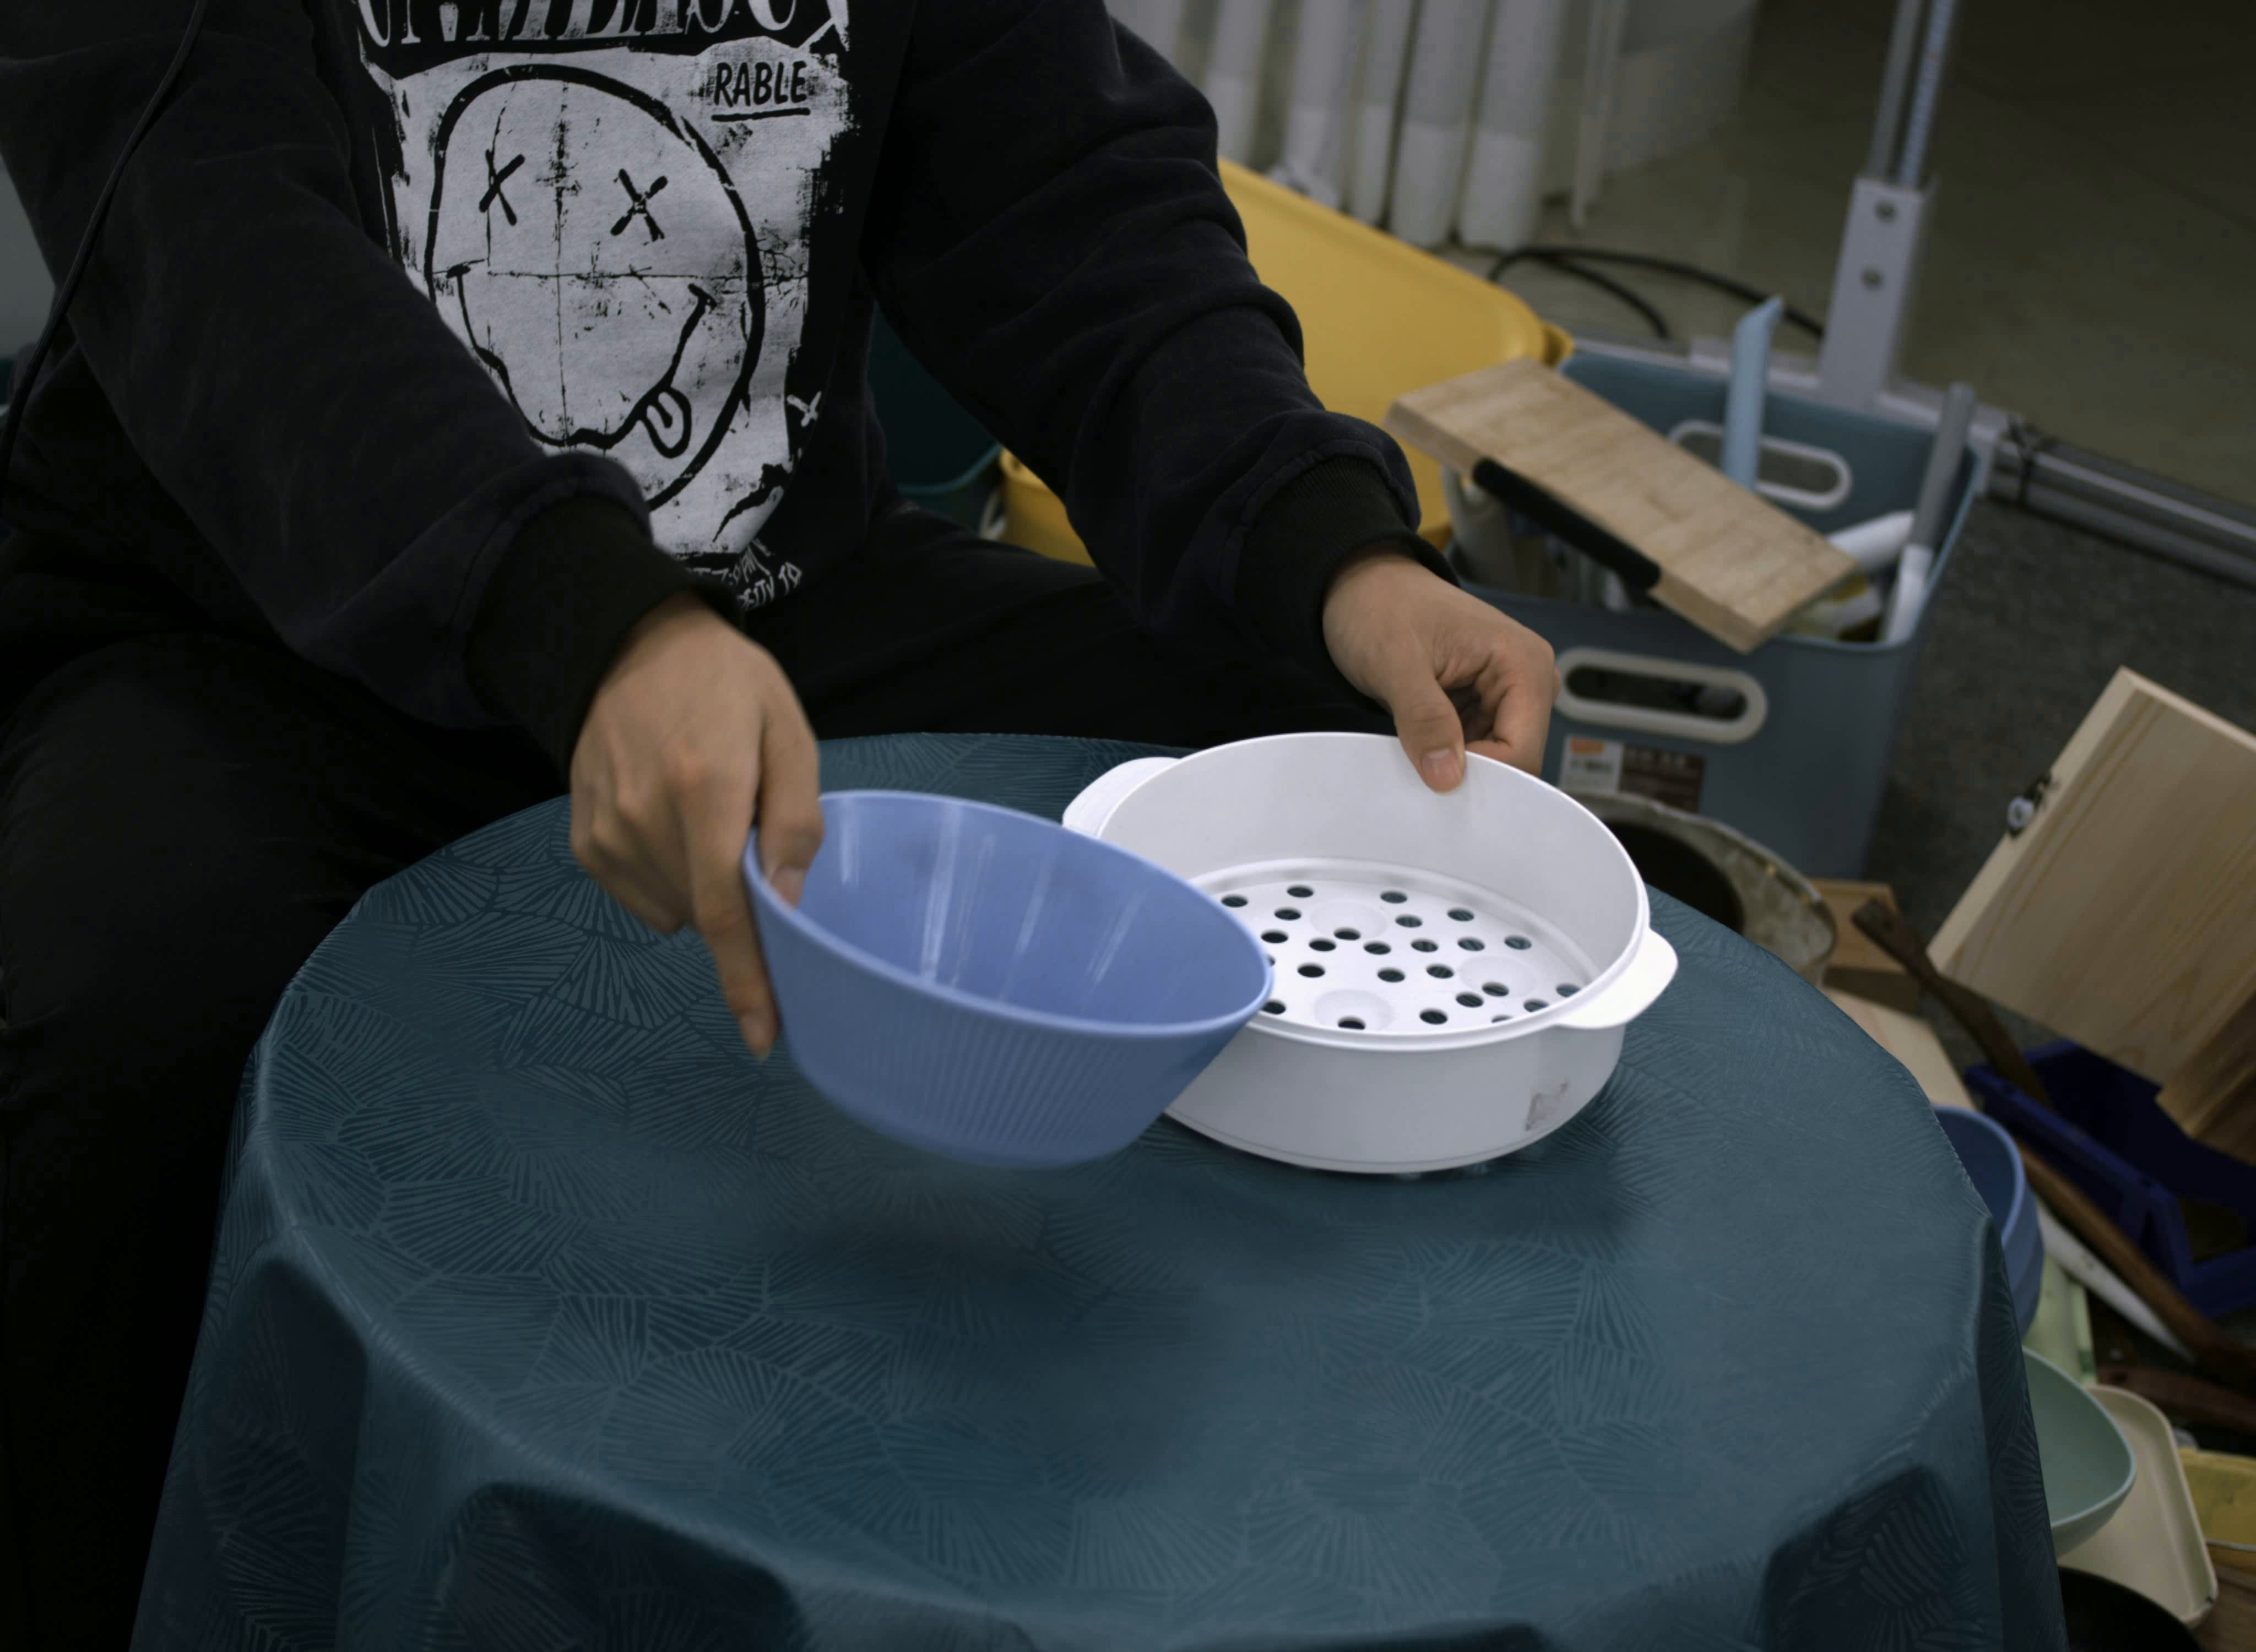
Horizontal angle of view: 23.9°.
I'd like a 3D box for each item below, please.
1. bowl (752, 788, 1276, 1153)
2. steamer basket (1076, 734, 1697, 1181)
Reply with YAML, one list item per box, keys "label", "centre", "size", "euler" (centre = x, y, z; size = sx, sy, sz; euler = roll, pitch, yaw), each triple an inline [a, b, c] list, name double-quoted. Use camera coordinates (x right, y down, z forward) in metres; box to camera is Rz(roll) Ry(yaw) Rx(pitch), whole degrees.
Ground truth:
- label: "bowl"
  centre: [-0.045, 0.051, 1.715]
  size: [0.175, 0.070, 0.177]
  euler: [15, 18, -5]
- label: "steamer basket"
  centre: [0.087, 0.047, 1.883]
  size: [0.231, 0.069, 0.202]
  euler: [21, 36, 23]
